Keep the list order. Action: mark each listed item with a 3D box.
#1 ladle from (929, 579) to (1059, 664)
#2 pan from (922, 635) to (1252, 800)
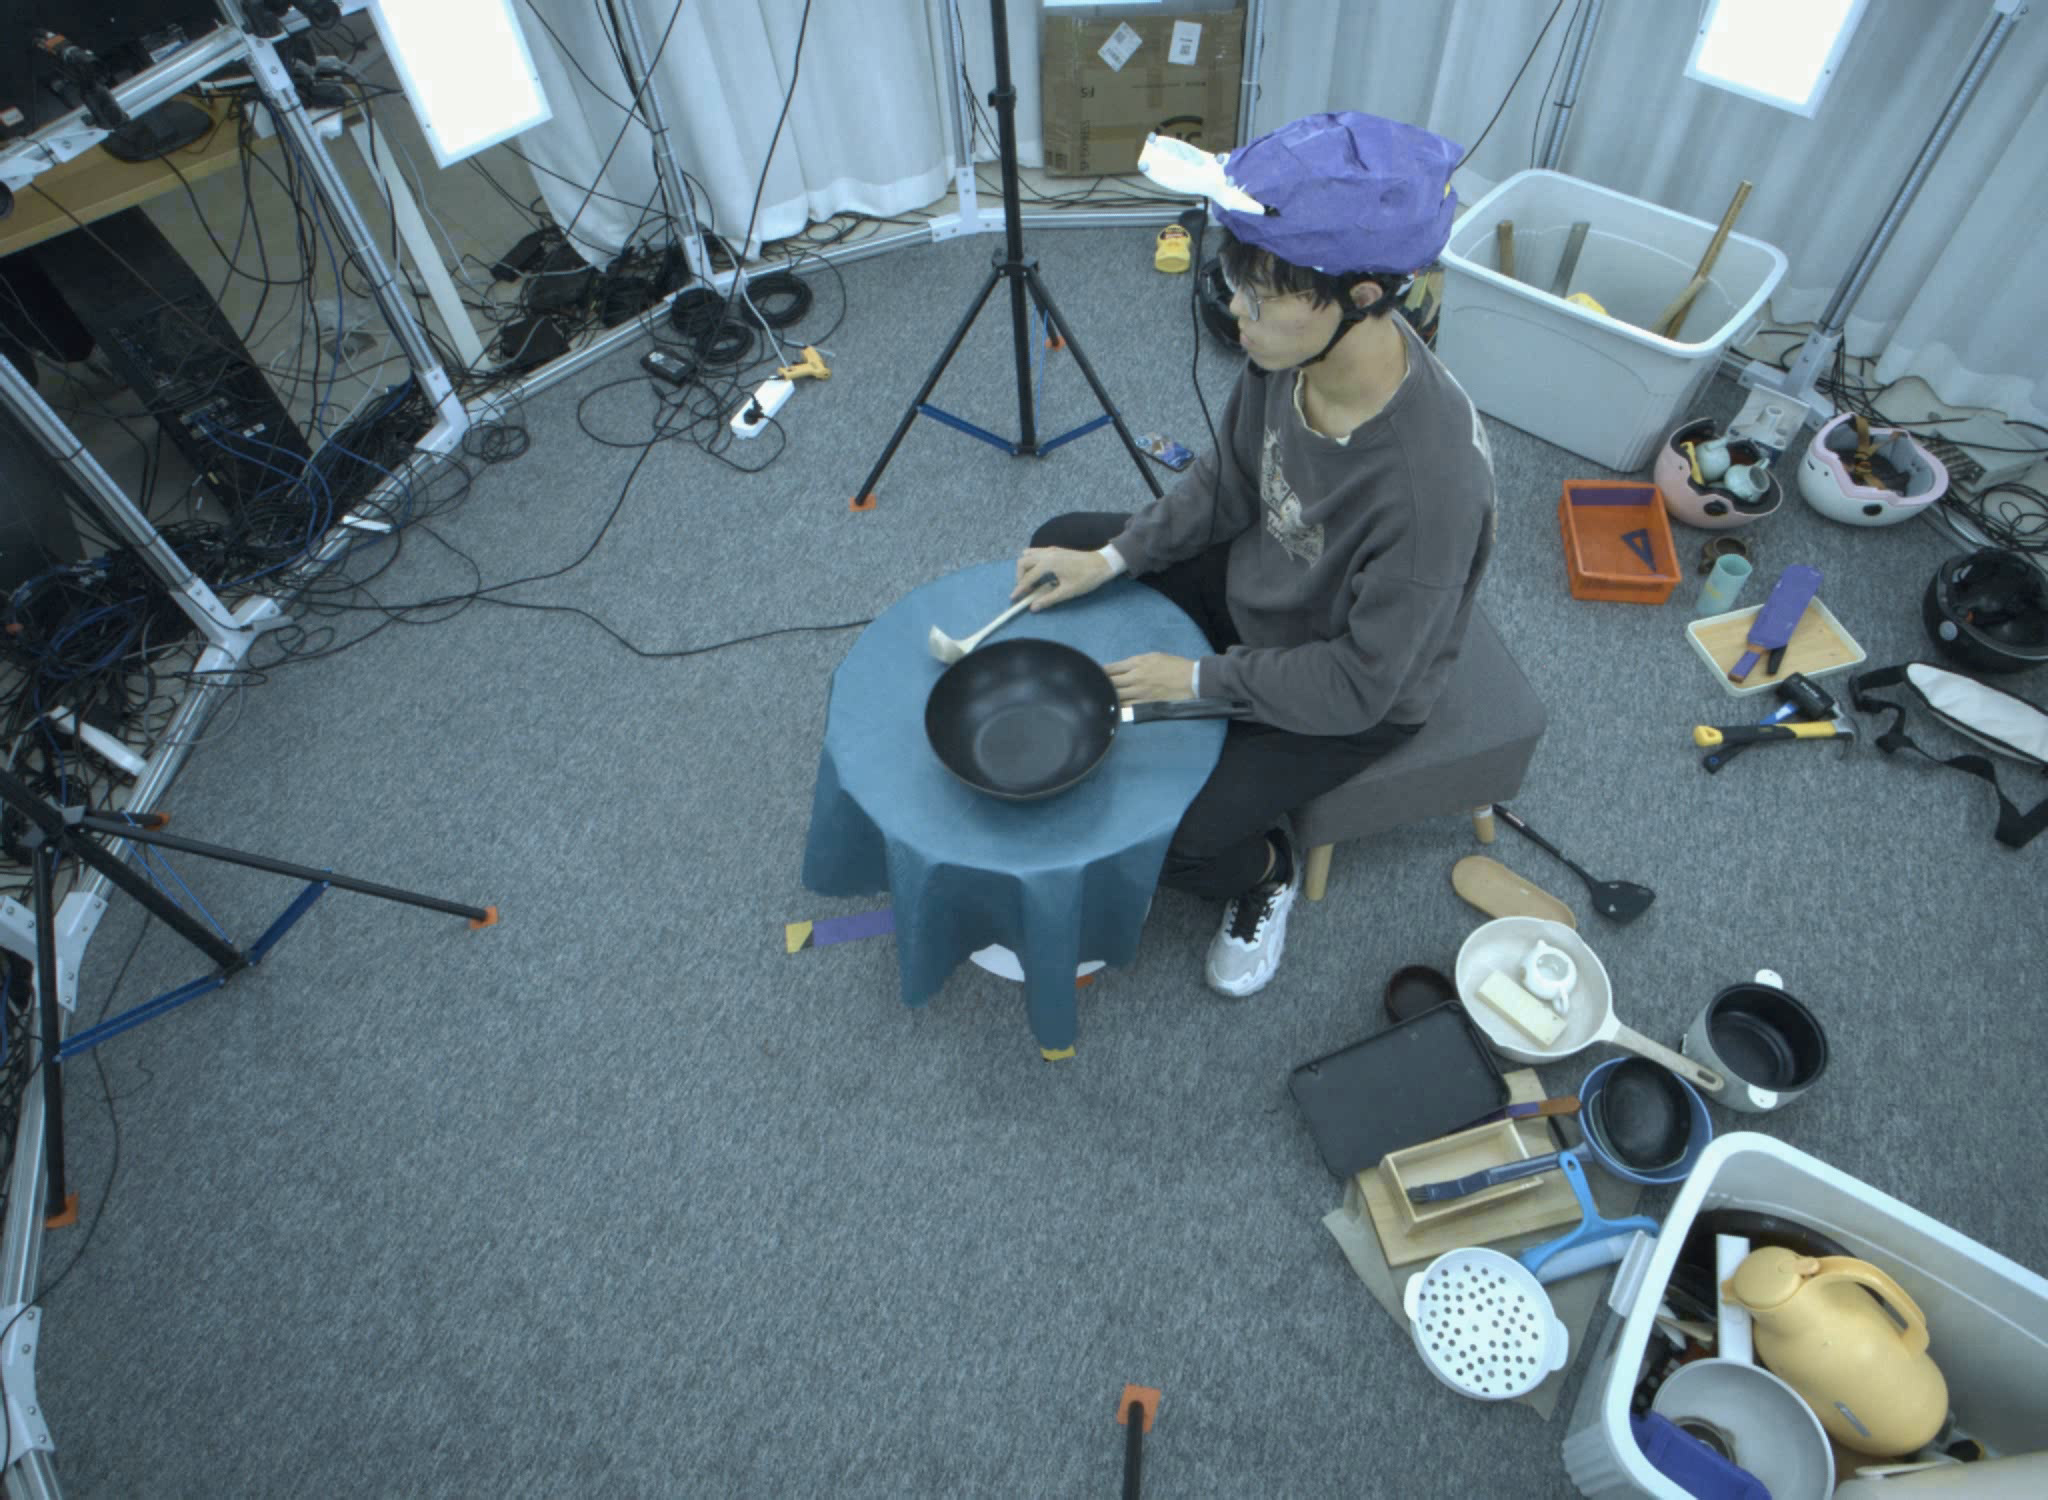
[{"bbox_3d":[-0.041,-0.223,1.902,0.256,0.074,0.070,-40,57,-23],"label":"ladle"},{"bbox_3d":[0.089,-0.035,1.756,0.463,0.088,0.285,0,54,0],"label":"pan"}]
